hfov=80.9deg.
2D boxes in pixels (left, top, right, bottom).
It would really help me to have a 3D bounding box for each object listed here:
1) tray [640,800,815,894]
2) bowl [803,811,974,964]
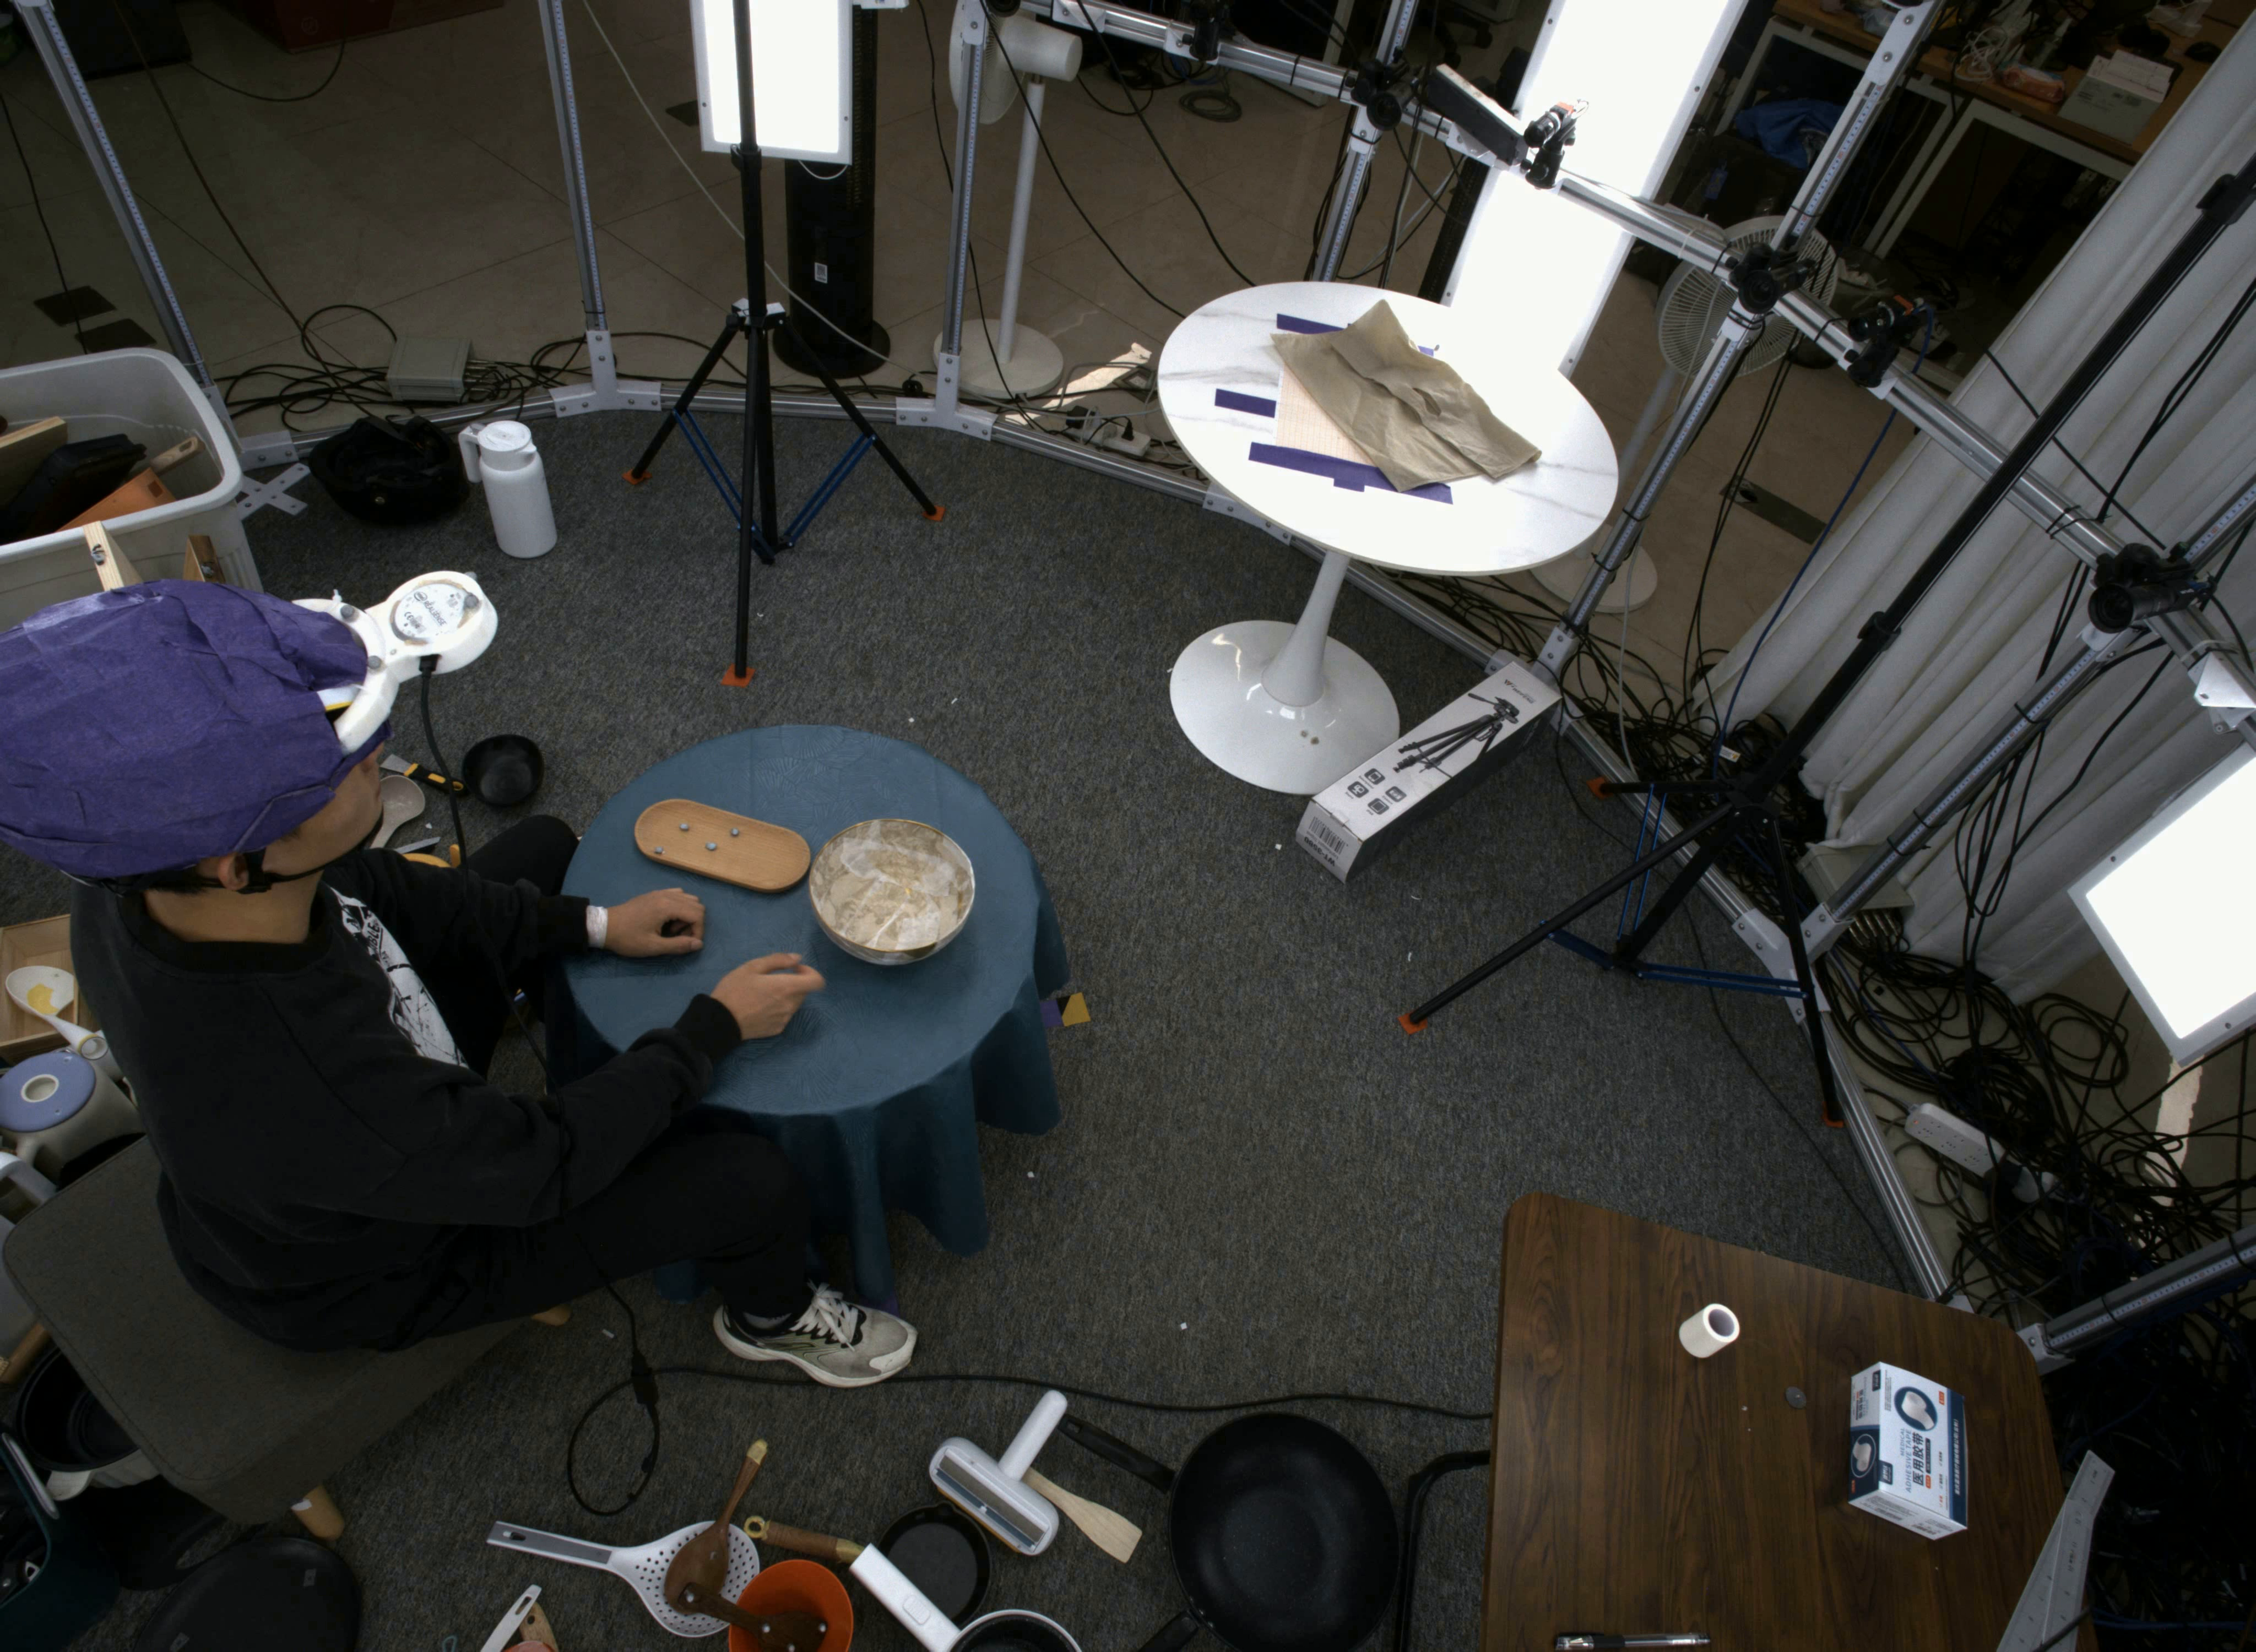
[{"bbox_3d":[-0.520,0.026,1.675,0.230,0.020,0.100,16,54,-5],"label":"tray"},{"bbox_3d":[-0.300,0.092,1.633,0.214,0.096,0.211,7,53,-8],"label":"bowl"}]
